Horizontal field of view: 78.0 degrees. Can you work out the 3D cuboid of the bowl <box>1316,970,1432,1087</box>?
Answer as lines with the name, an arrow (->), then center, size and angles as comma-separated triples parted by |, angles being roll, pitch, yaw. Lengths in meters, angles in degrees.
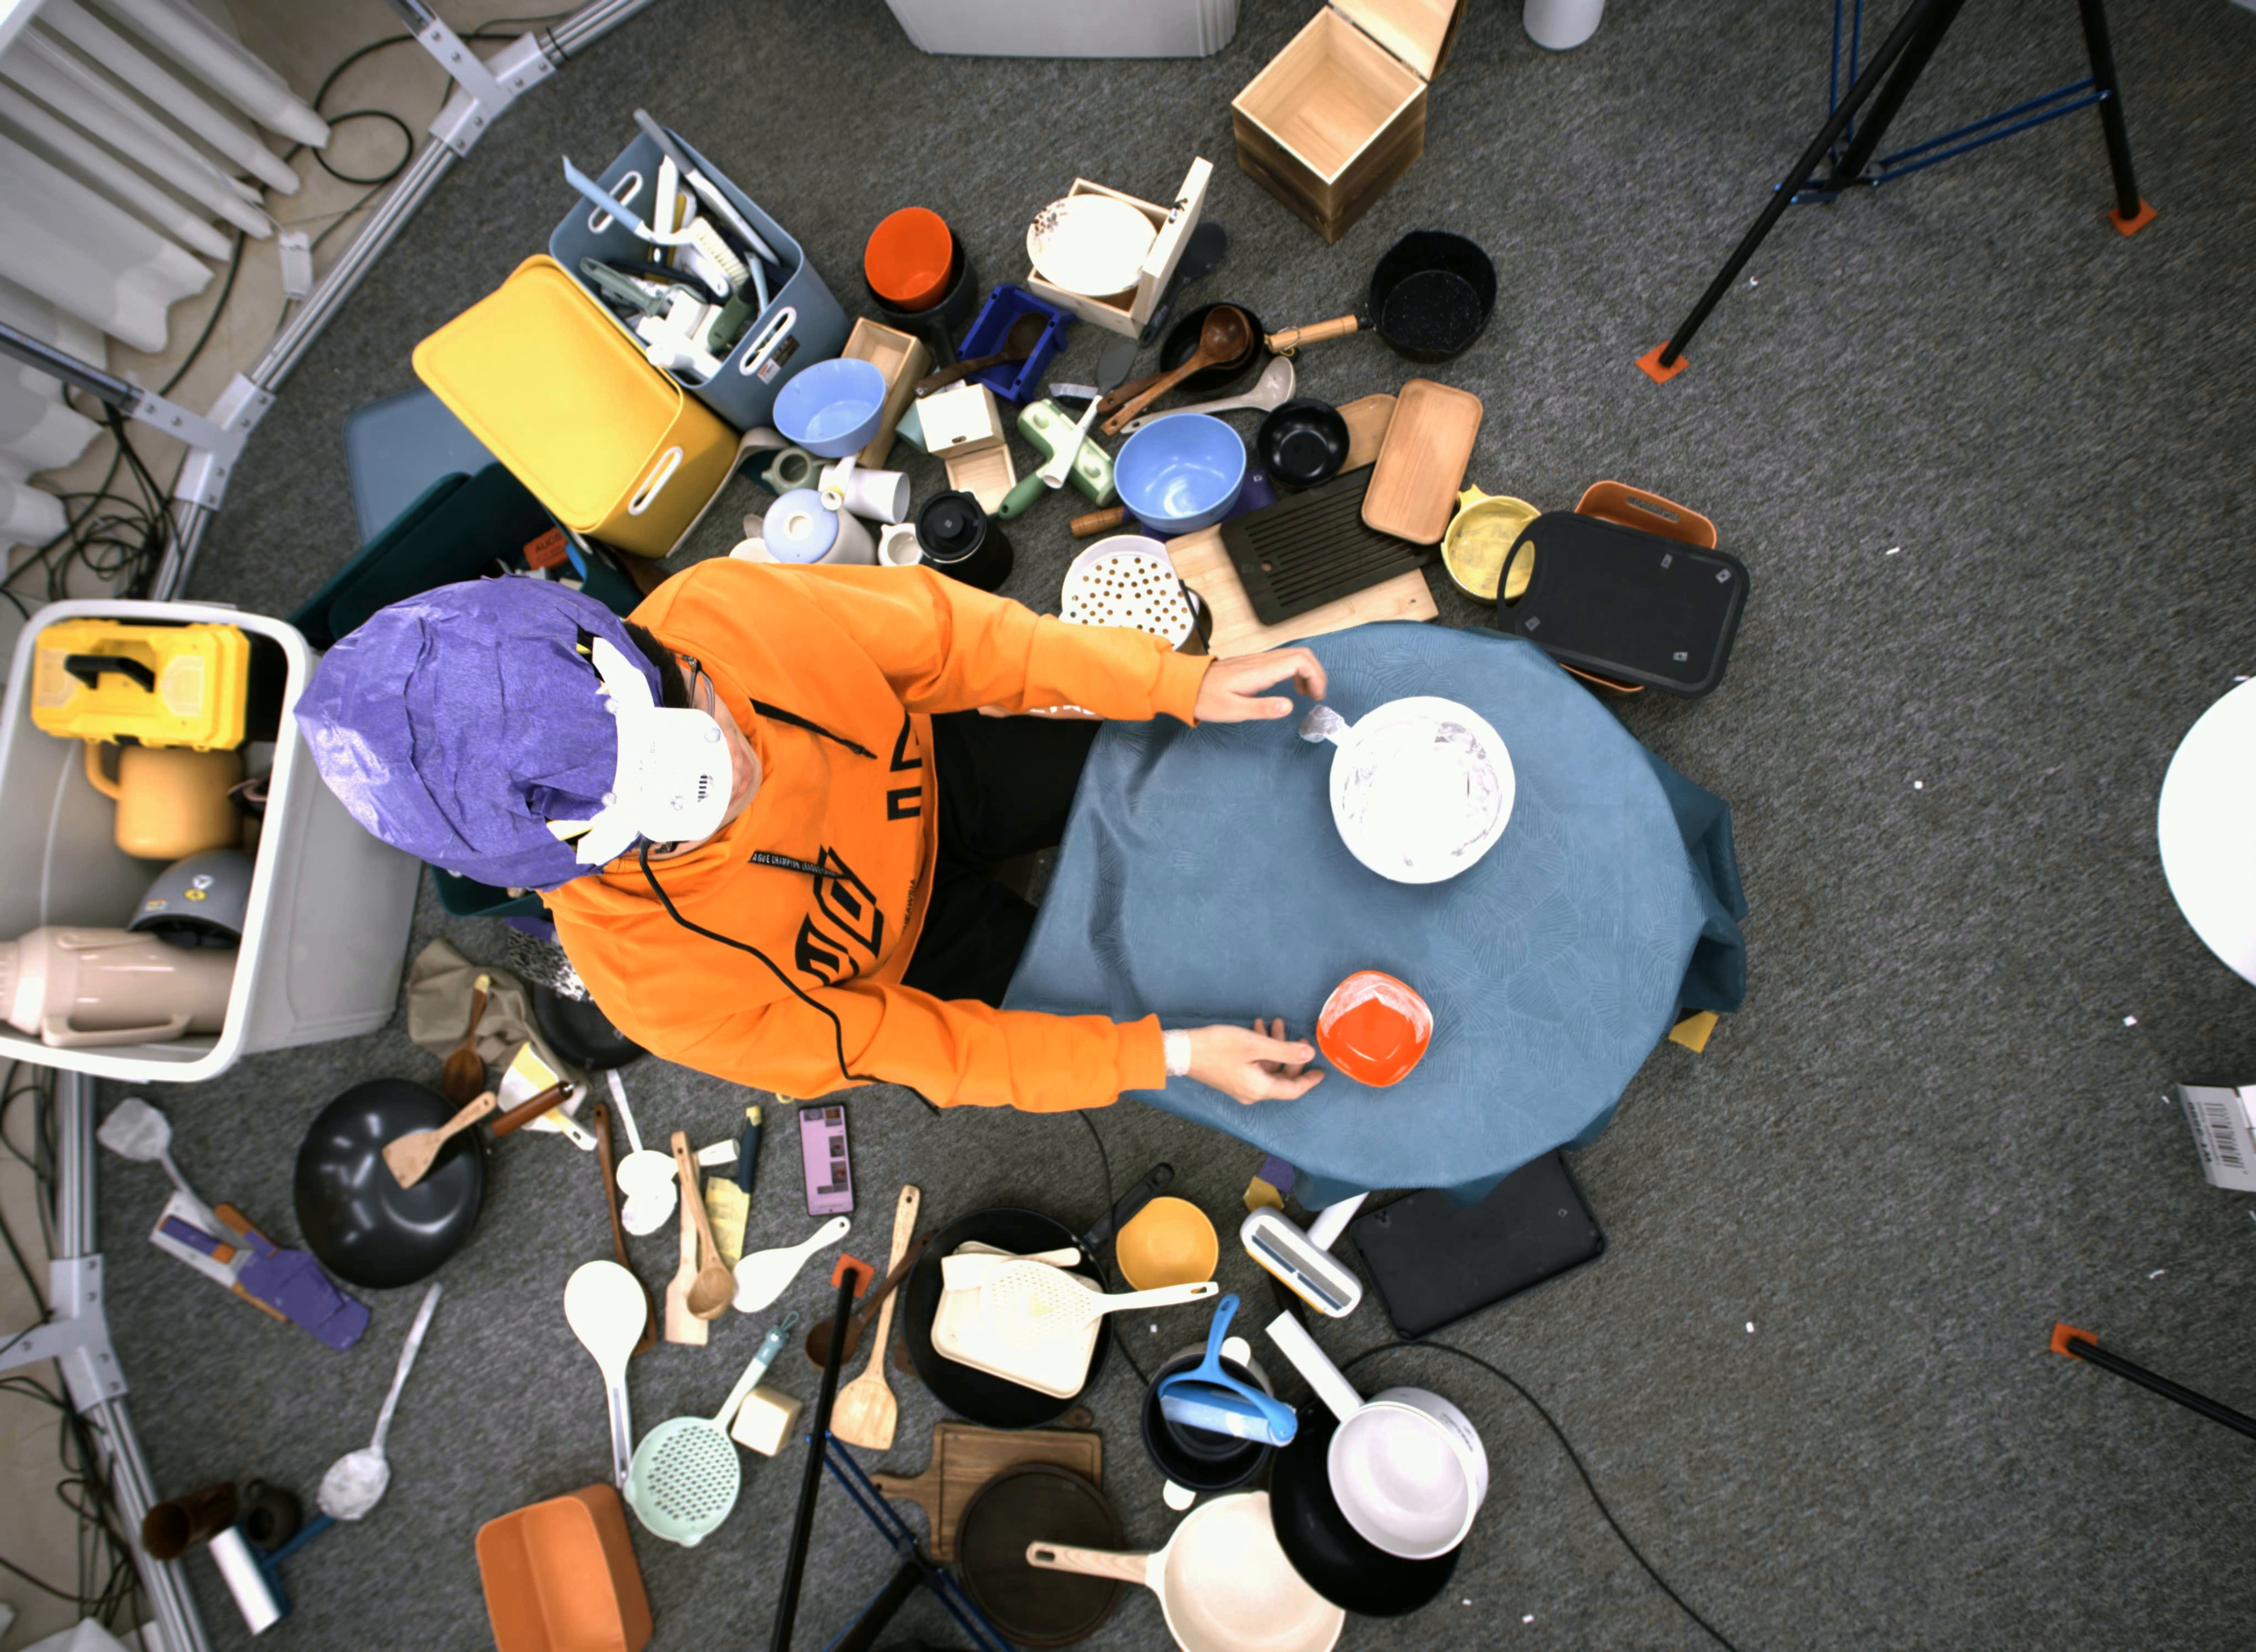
bowl -> 0.254, 0.206, 1.430 | 0.119, 0.051, 0.118 | -1, 87, 10

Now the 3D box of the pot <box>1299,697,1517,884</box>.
pot -> 0.272, -0.049, 1.396 | 0.233, 0.137, 0.179 | 35, 92, 10
